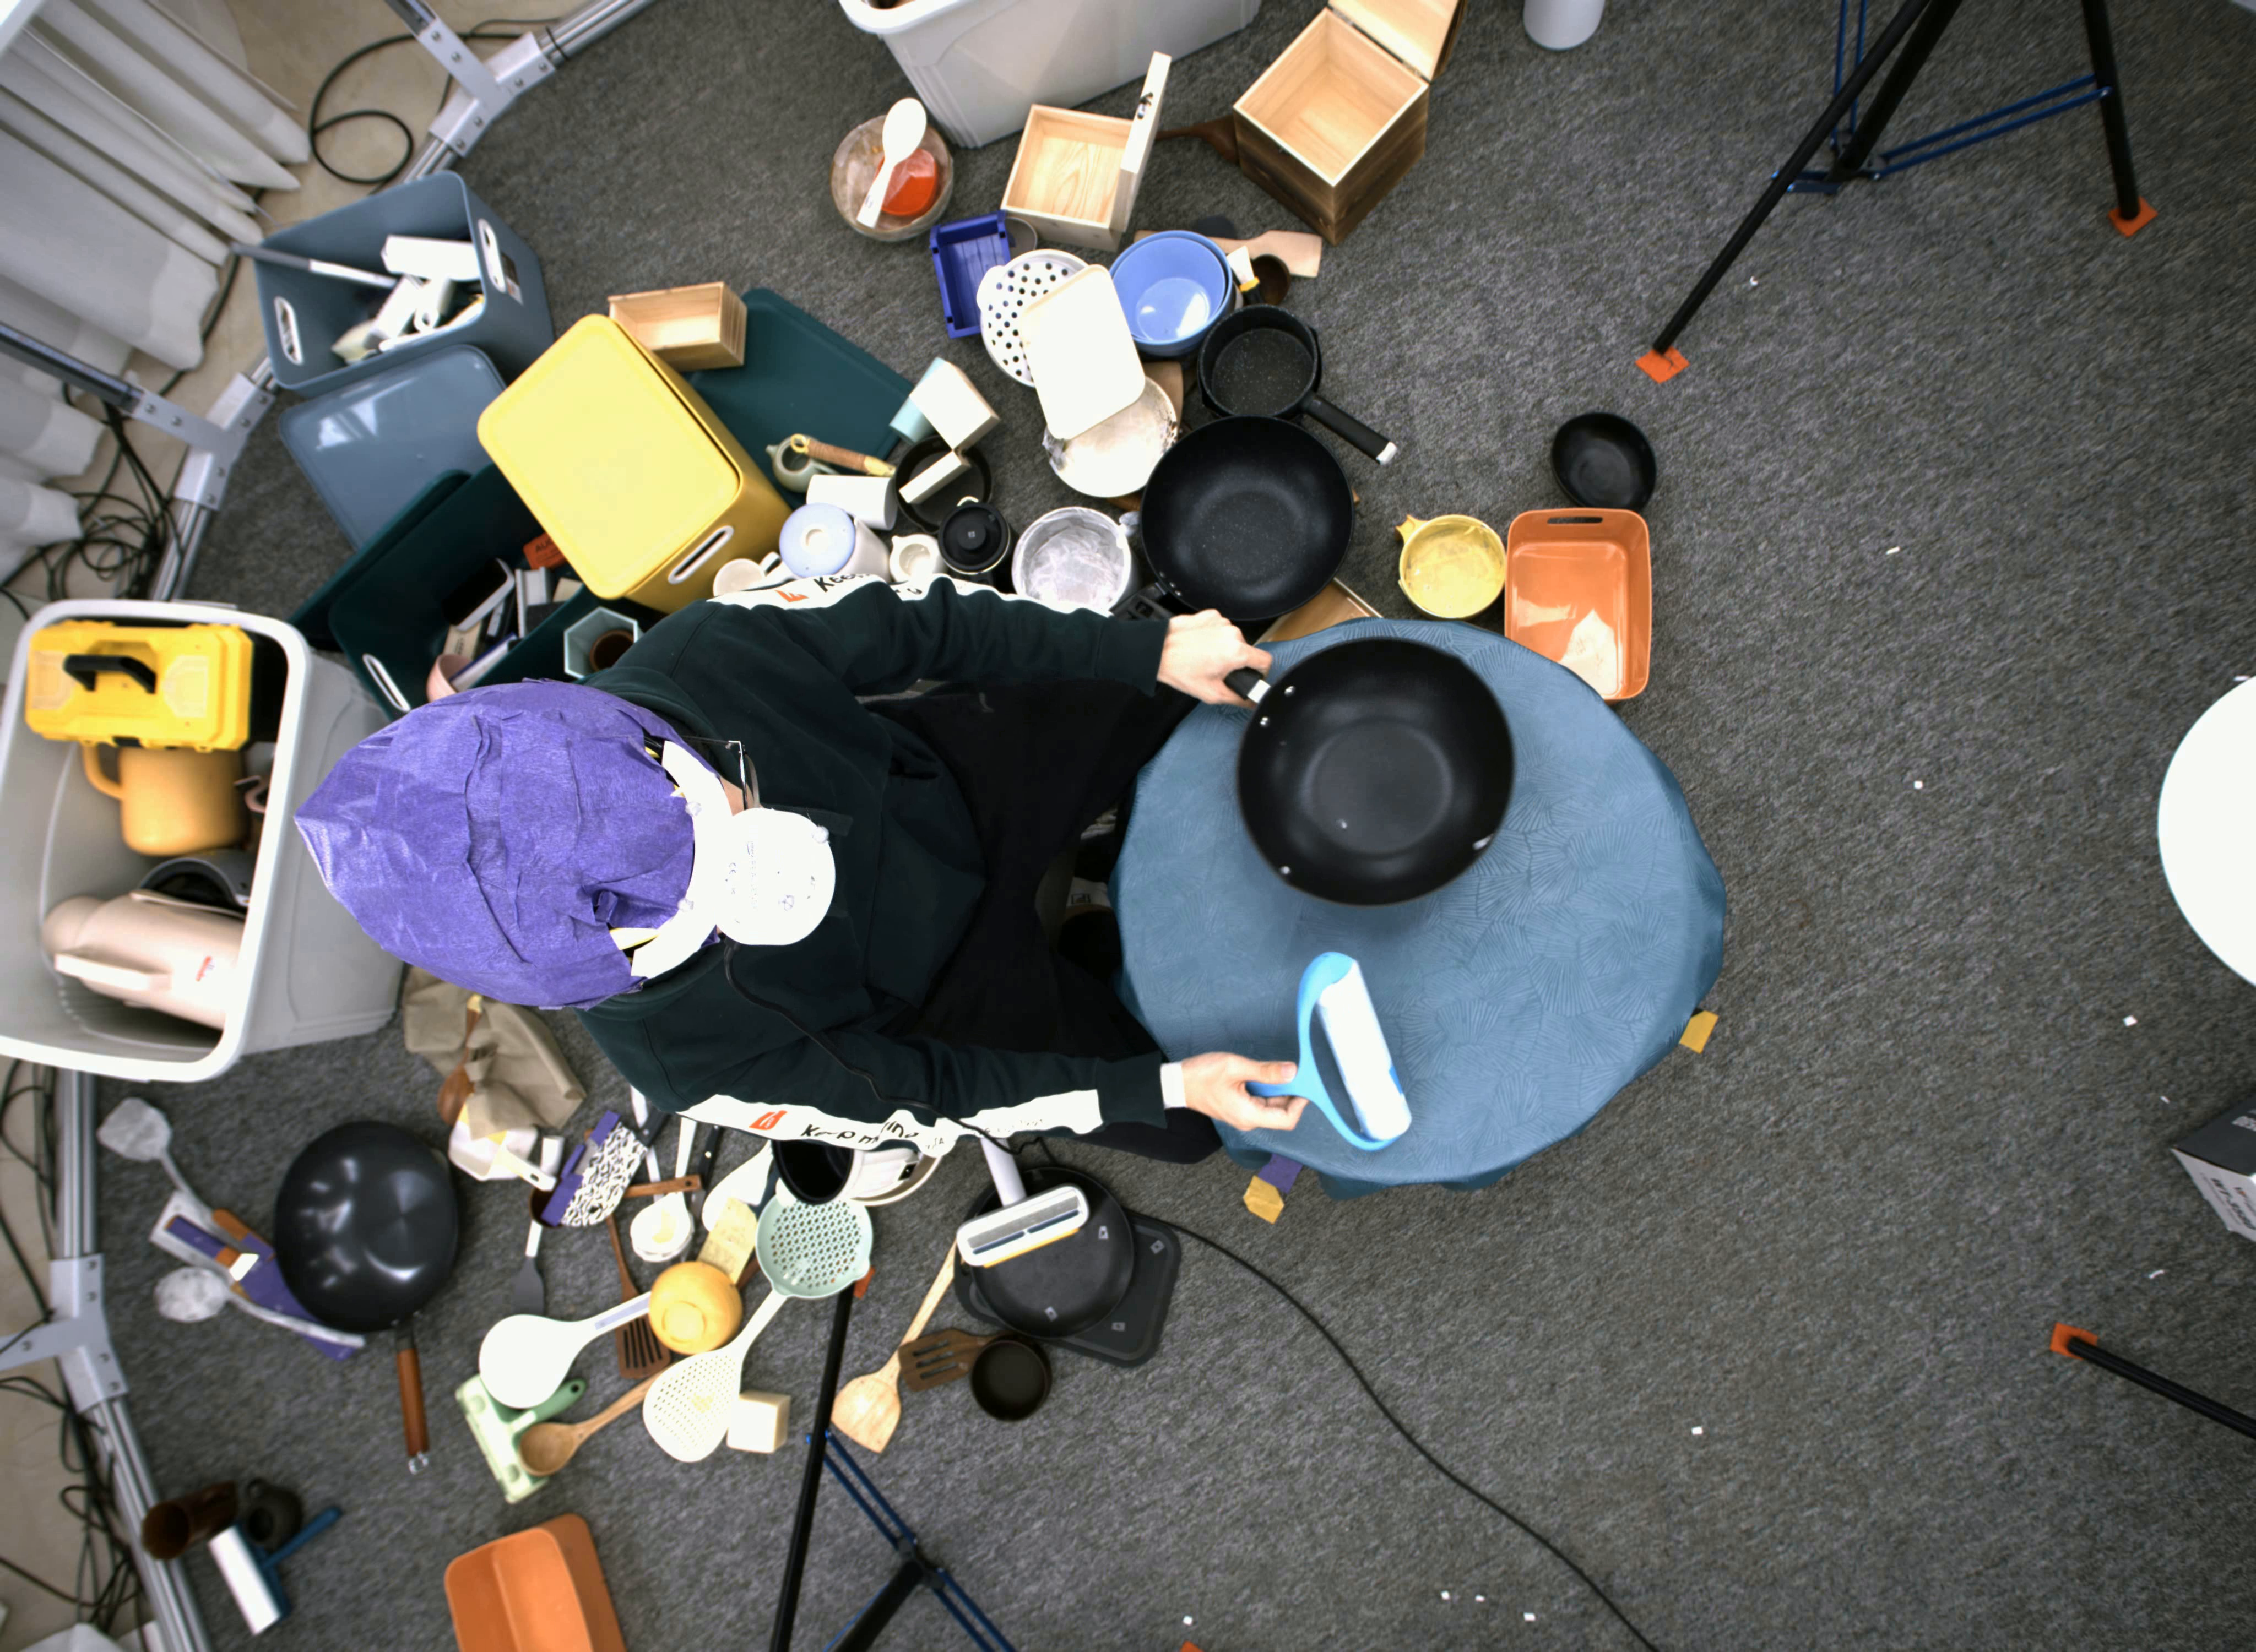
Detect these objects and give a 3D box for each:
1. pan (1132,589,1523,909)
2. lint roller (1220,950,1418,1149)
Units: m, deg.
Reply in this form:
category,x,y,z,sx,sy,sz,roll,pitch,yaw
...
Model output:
category,x,y,z,sx,sy,sz,roll,pitch,yaw
pan,0.189,-0.101,1.433,0.461,0.087,0.288,37,92,18
lint roller,0.181,0.241,1.388,0.181,0.066,0.232,-21,116,11
